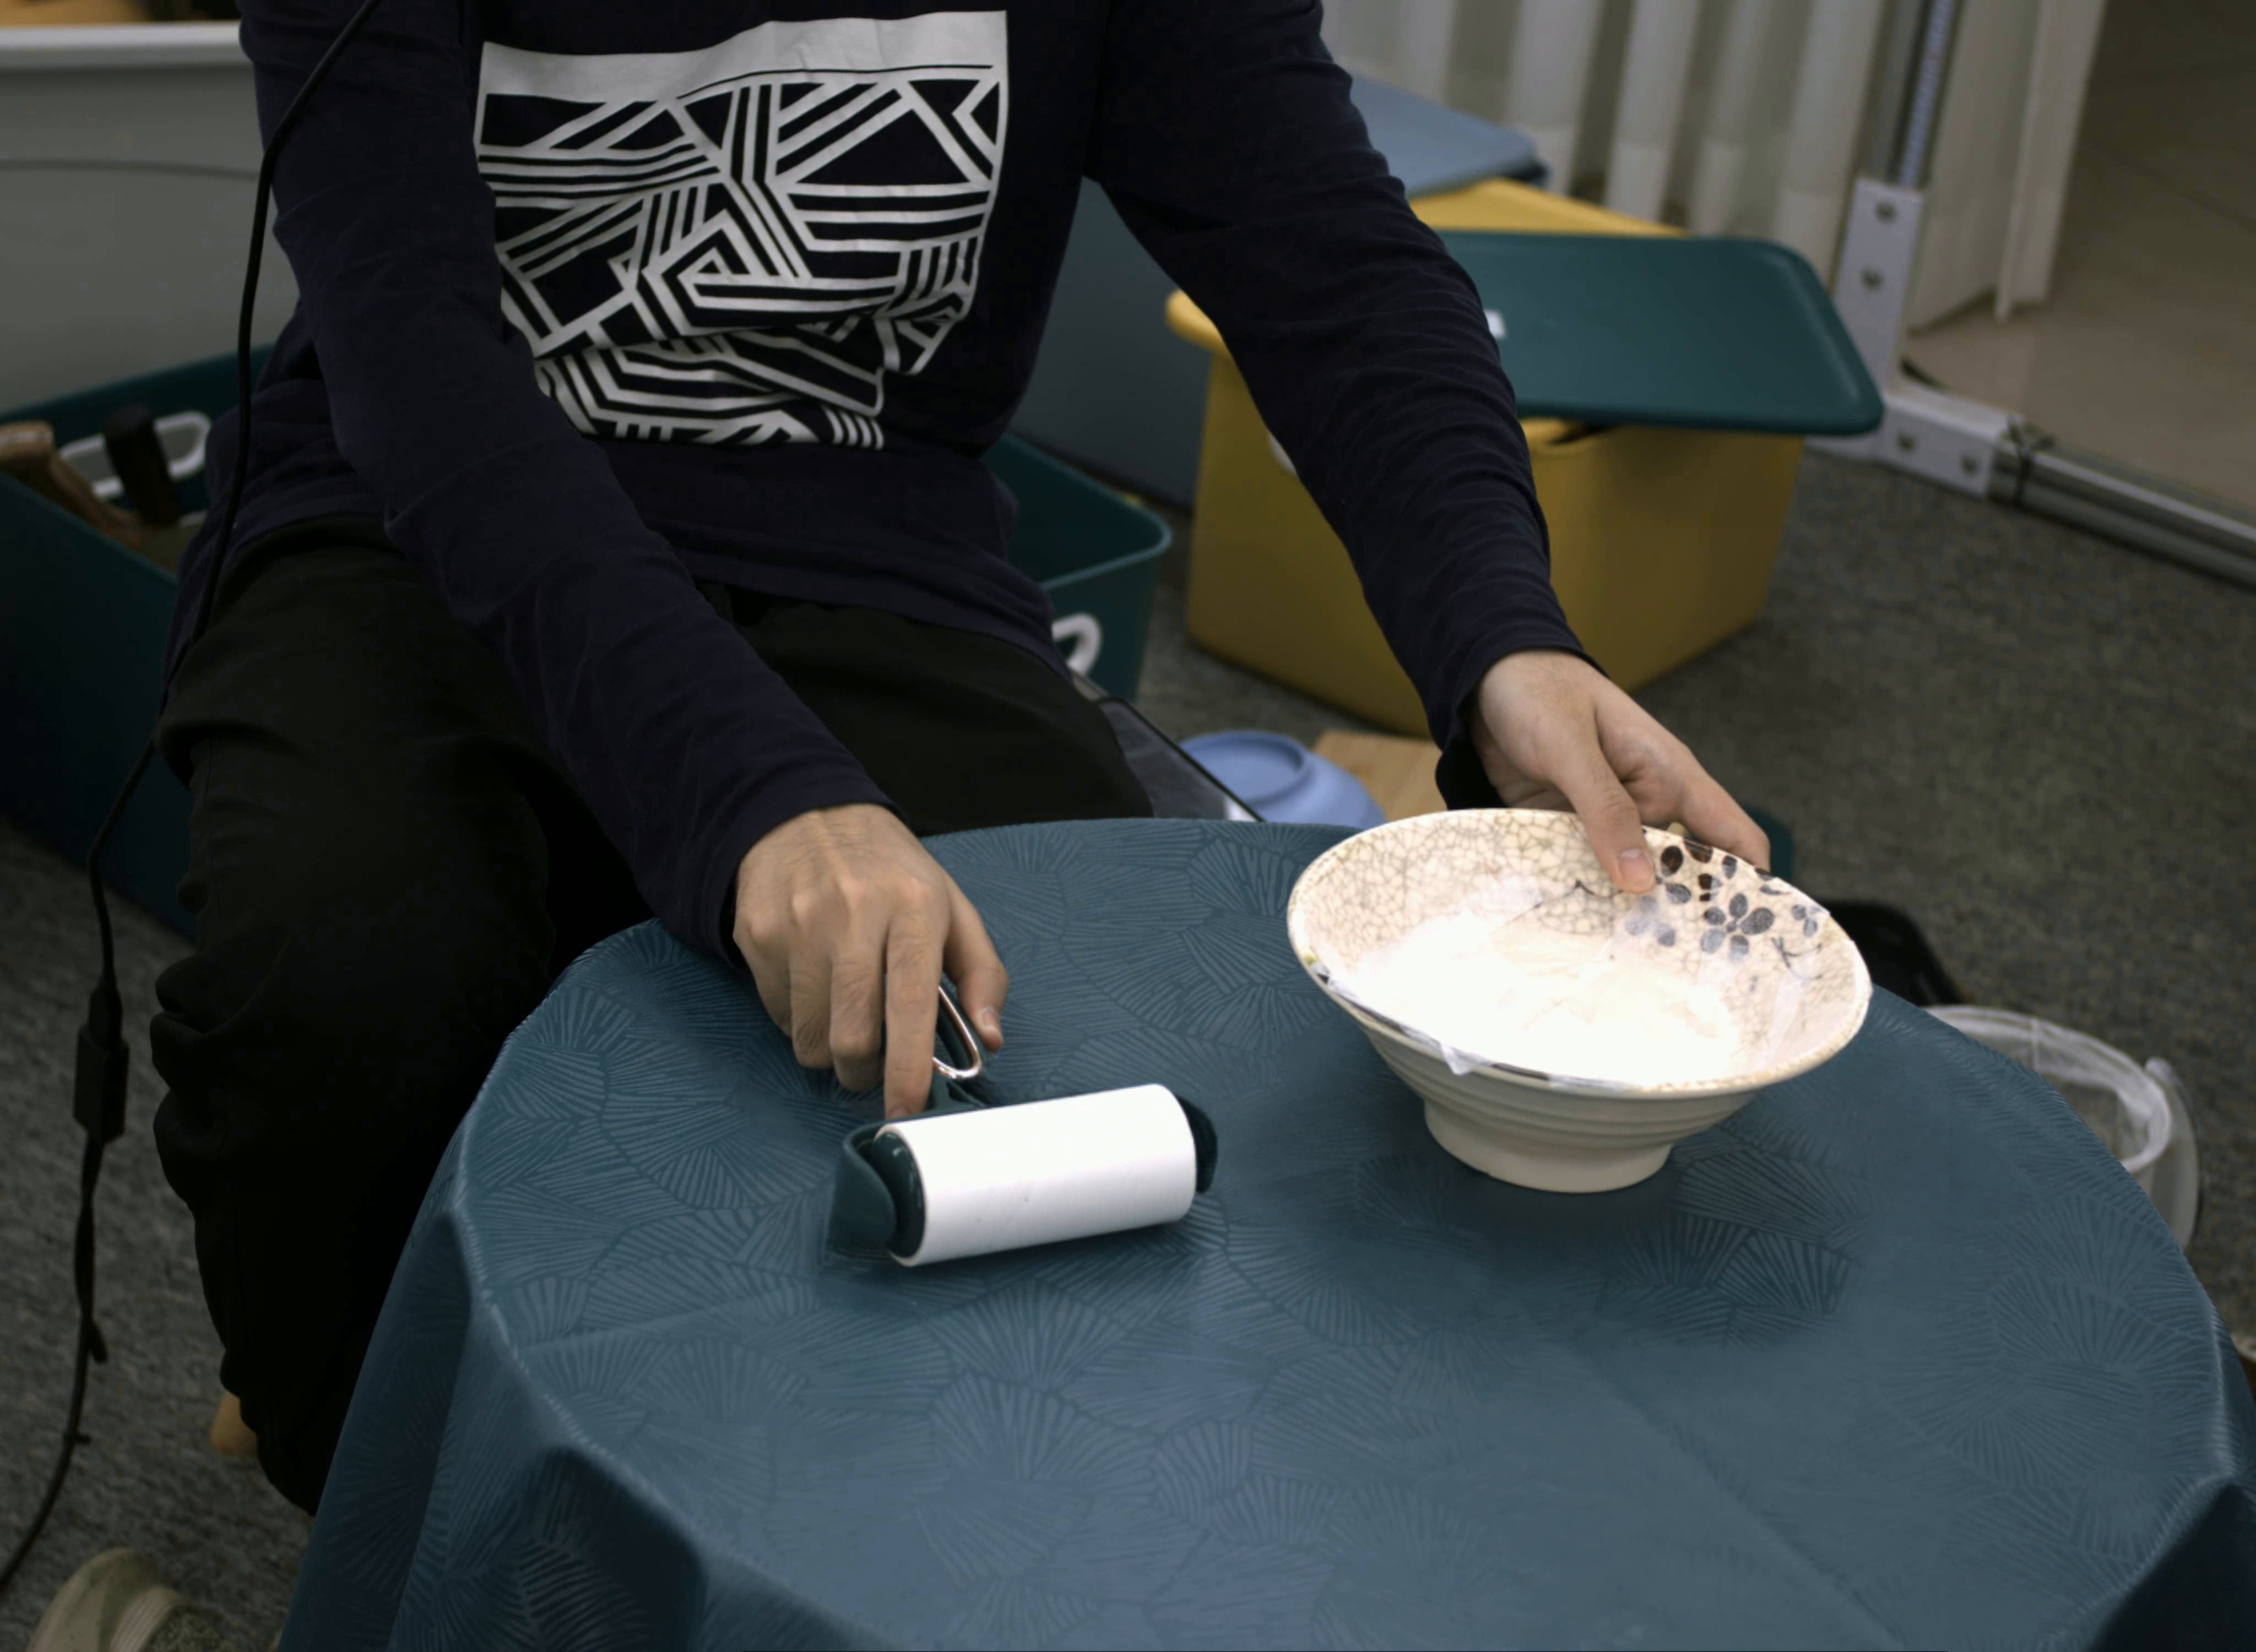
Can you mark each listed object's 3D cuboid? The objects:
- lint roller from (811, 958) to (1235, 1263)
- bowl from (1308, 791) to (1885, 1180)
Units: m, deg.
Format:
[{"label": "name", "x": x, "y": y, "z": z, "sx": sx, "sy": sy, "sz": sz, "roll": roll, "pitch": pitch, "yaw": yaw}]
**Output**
[{"label": "lint roller", "x": -0.062, "y": 0.079, "z": 1.812, "sx": 0.133, "sy": 0.048, "sz": 0.182, "roll": -8, "pitch": 36, "yaw": -26}, {"label": "bowl", "x": 0.156, "y": 0.068, "z": 1.851, "sx": 0.203, "sy": 0.078, "sz": 0.205, "roll": 8, "pitch": 25, "yaw": -4}]
